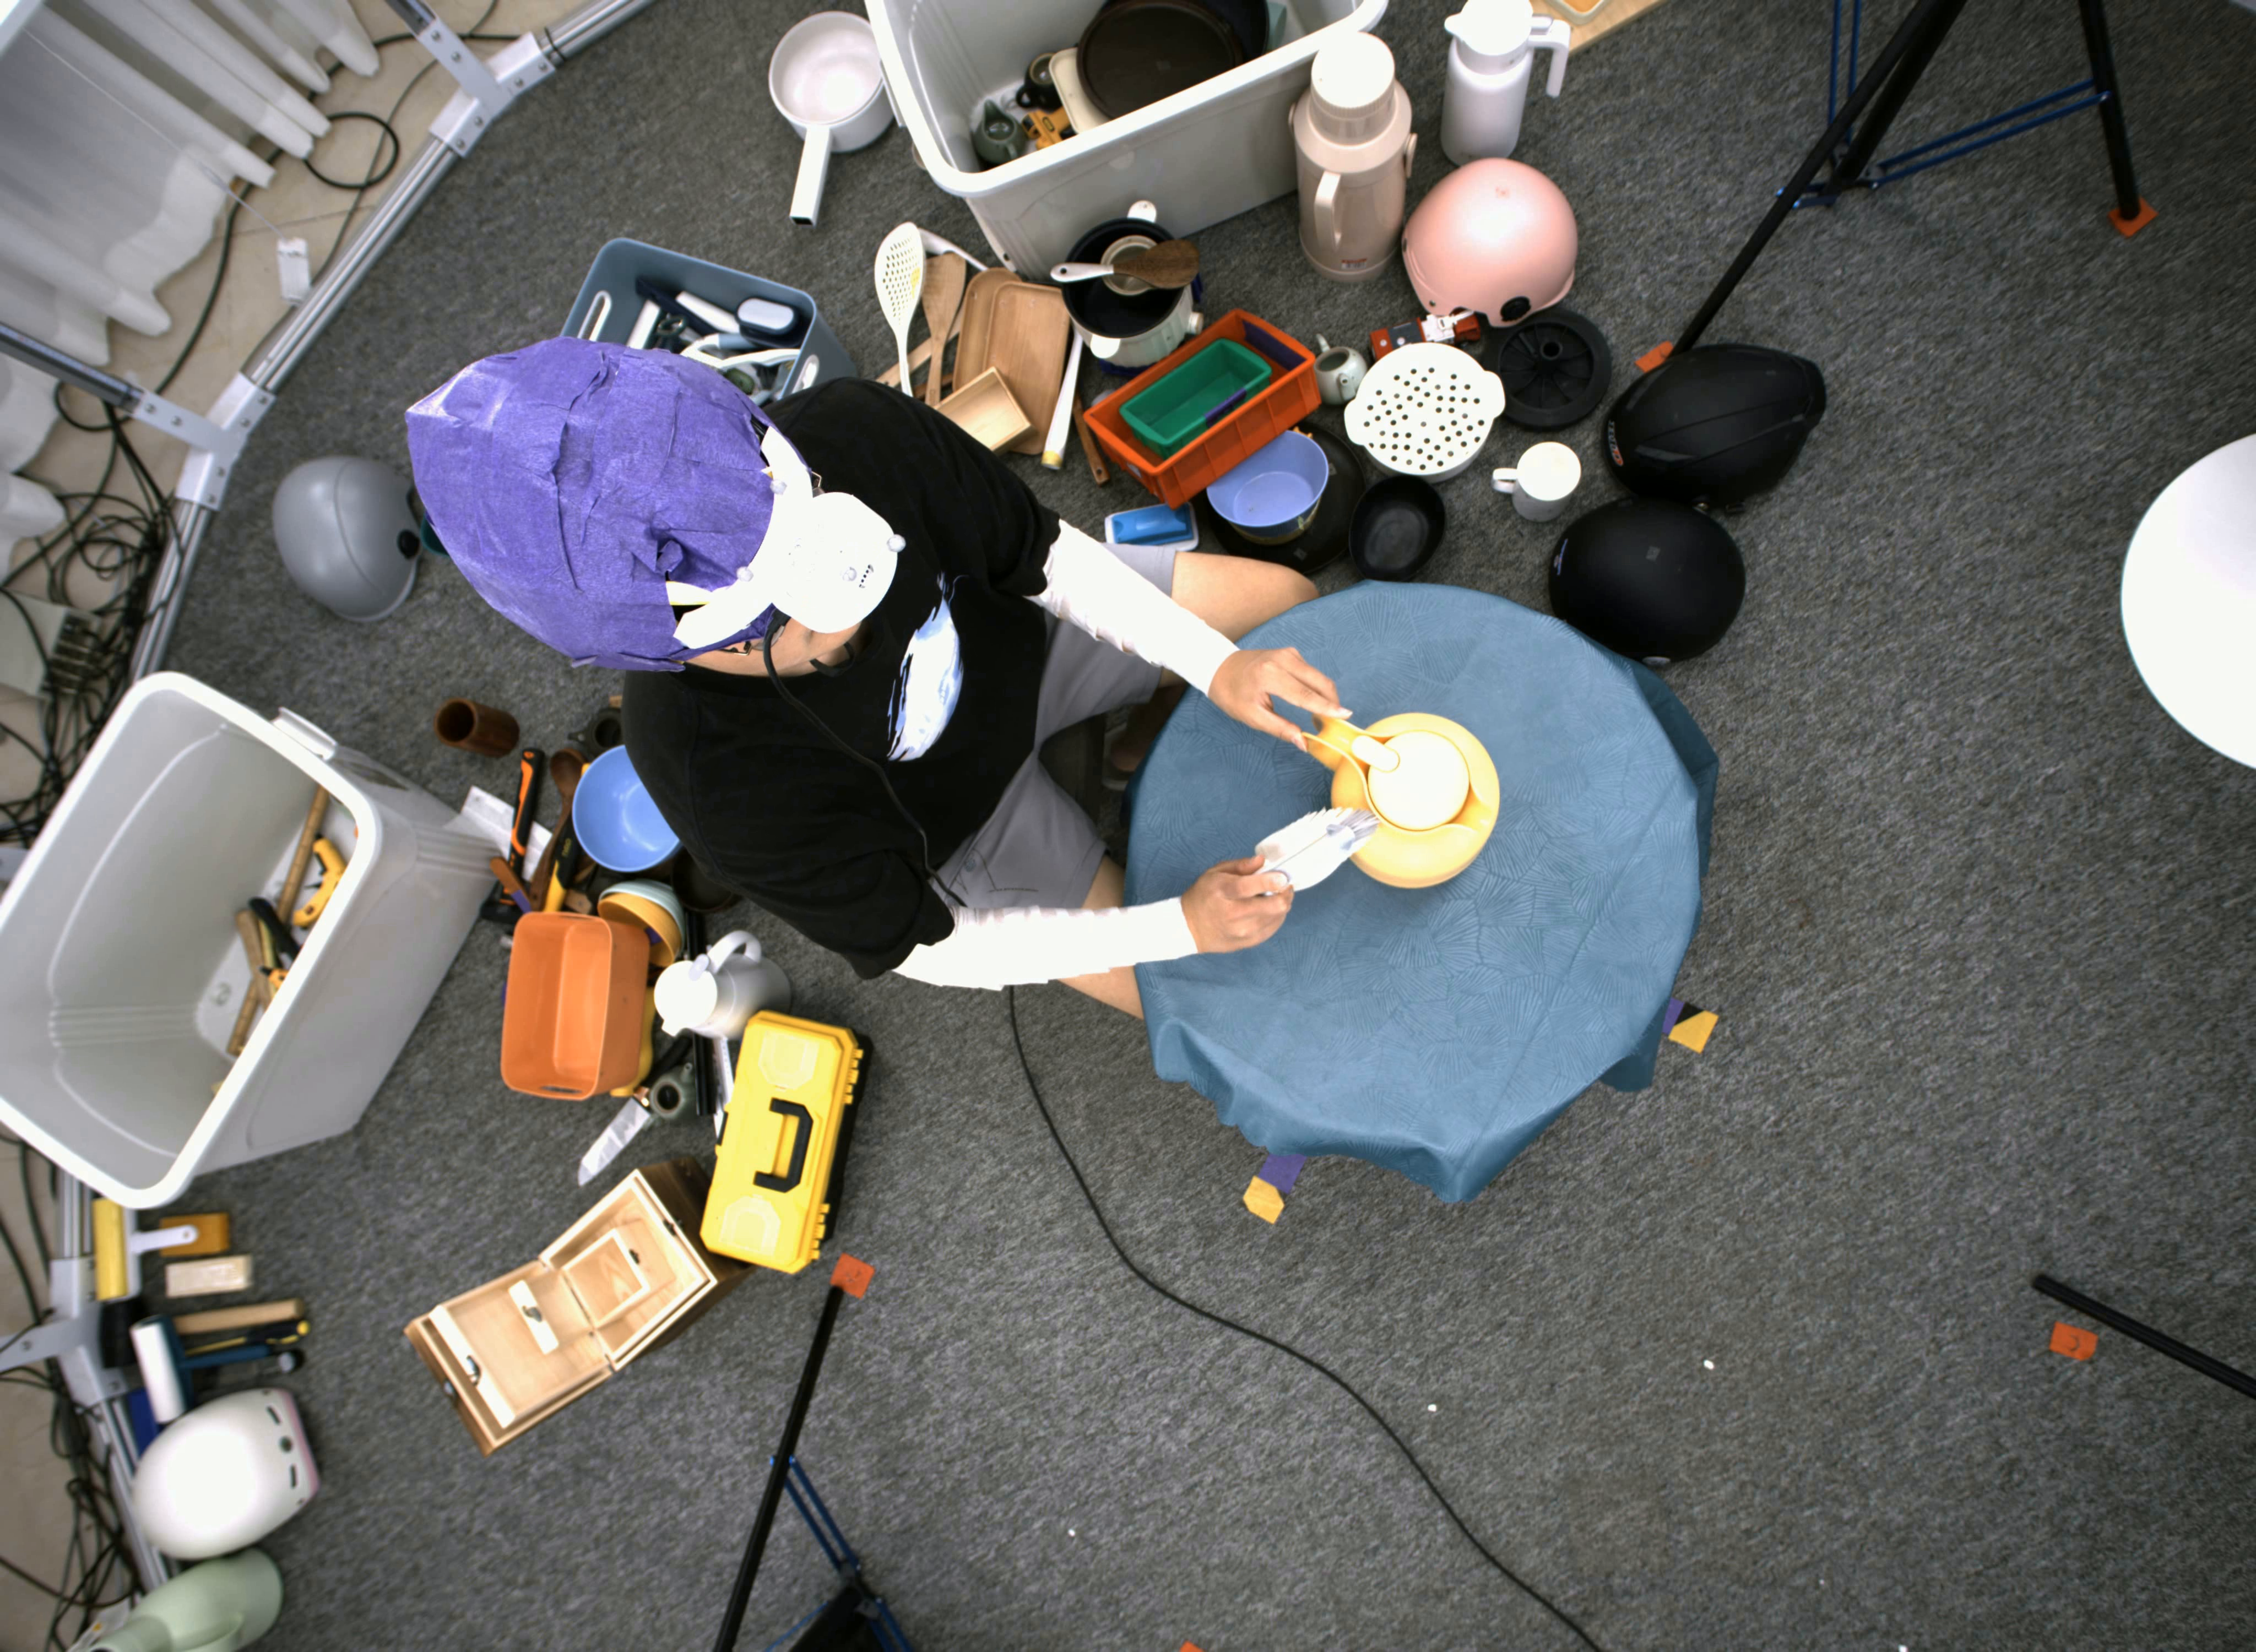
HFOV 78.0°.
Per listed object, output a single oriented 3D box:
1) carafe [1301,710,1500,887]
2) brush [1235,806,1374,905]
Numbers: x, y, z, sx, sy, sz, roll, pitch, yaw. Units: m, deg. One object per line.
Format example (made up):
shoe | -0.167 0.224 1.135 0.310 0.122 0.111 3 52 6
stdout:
carafe | 0.261 -0.041 1.335 0.202 0.261 0.163 35 90 10
brush | 0.158 0.030 1.293 0.092 0.178 0.061 -40 94 -27
